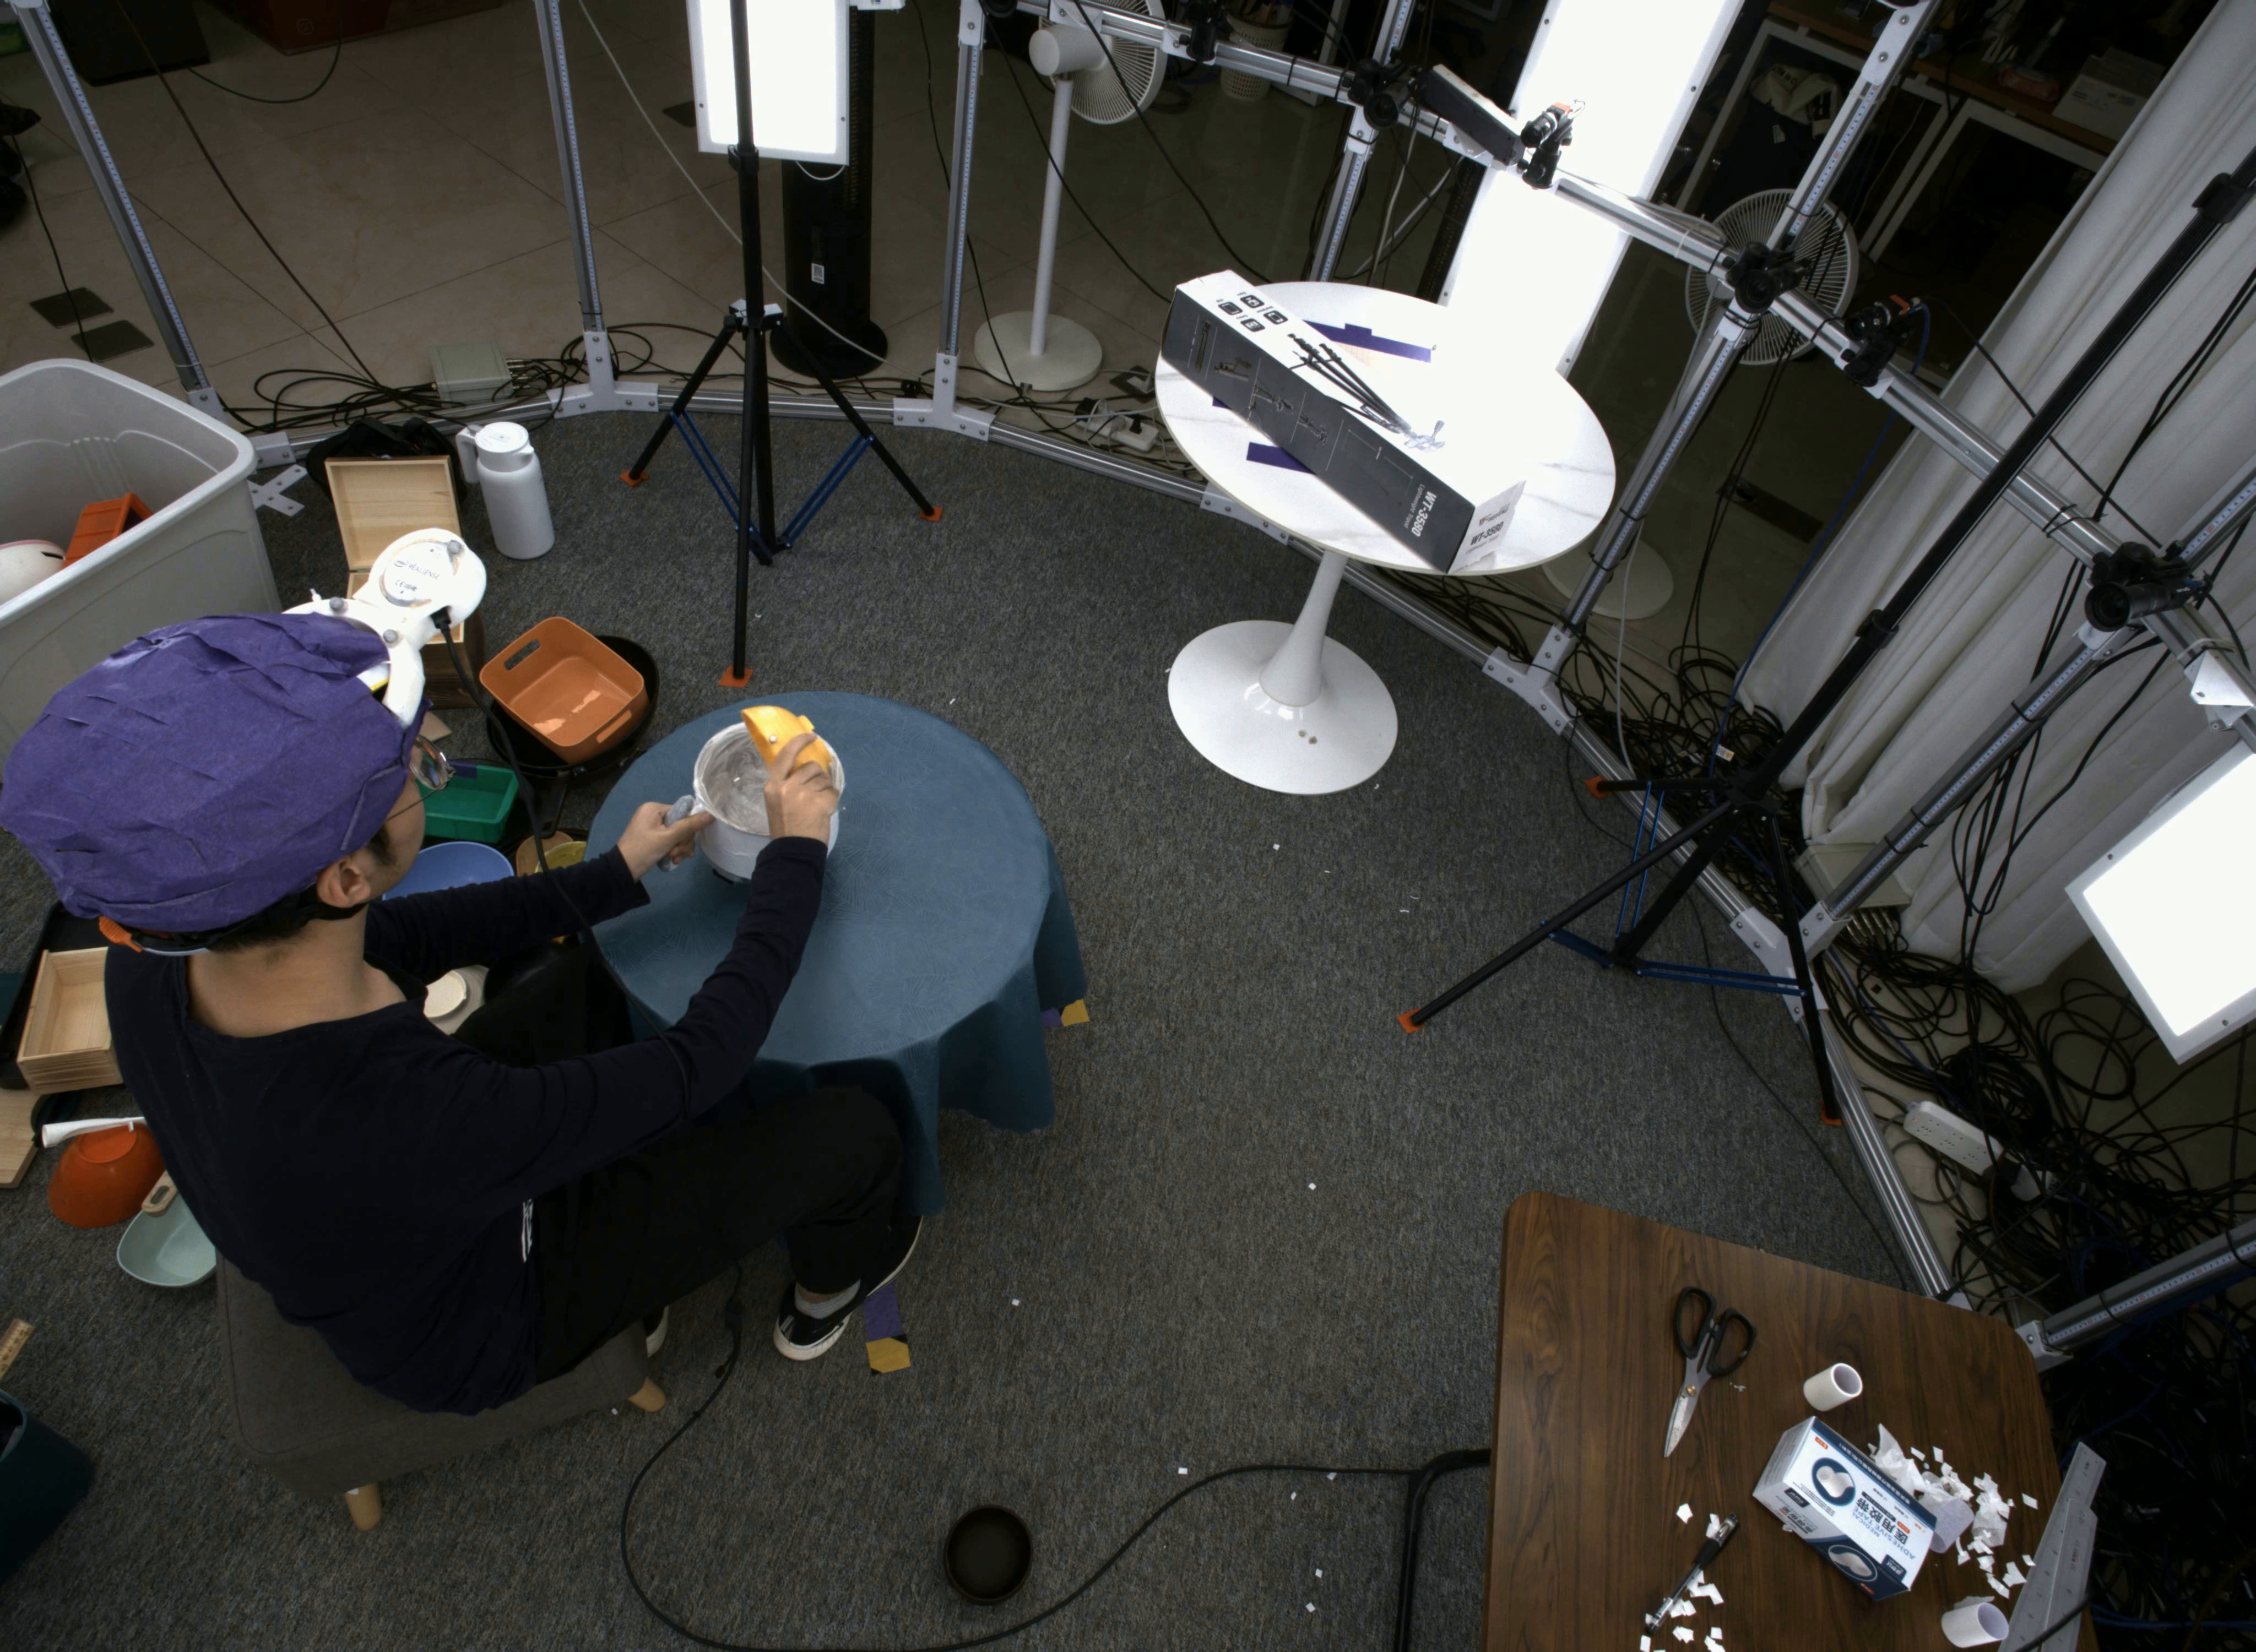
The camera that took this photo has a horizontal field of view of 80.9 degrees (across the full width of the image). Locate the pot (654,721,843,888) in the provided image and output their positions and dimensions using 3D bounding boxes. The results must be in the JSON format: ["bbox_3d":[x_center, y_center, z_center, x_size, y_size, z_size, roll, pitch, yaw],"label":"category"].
[{"bbox_3d":[-0.469,-0.017,1.592,0.235,0.139,0.174,-22,62,-32],"label":"pot"}]

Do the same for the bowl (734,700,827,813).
[{"bbox_3d":[-0.392,-0.093,1.504,0.060,0.149,0.142,-36,66,-18],"label":"bowl"}]
